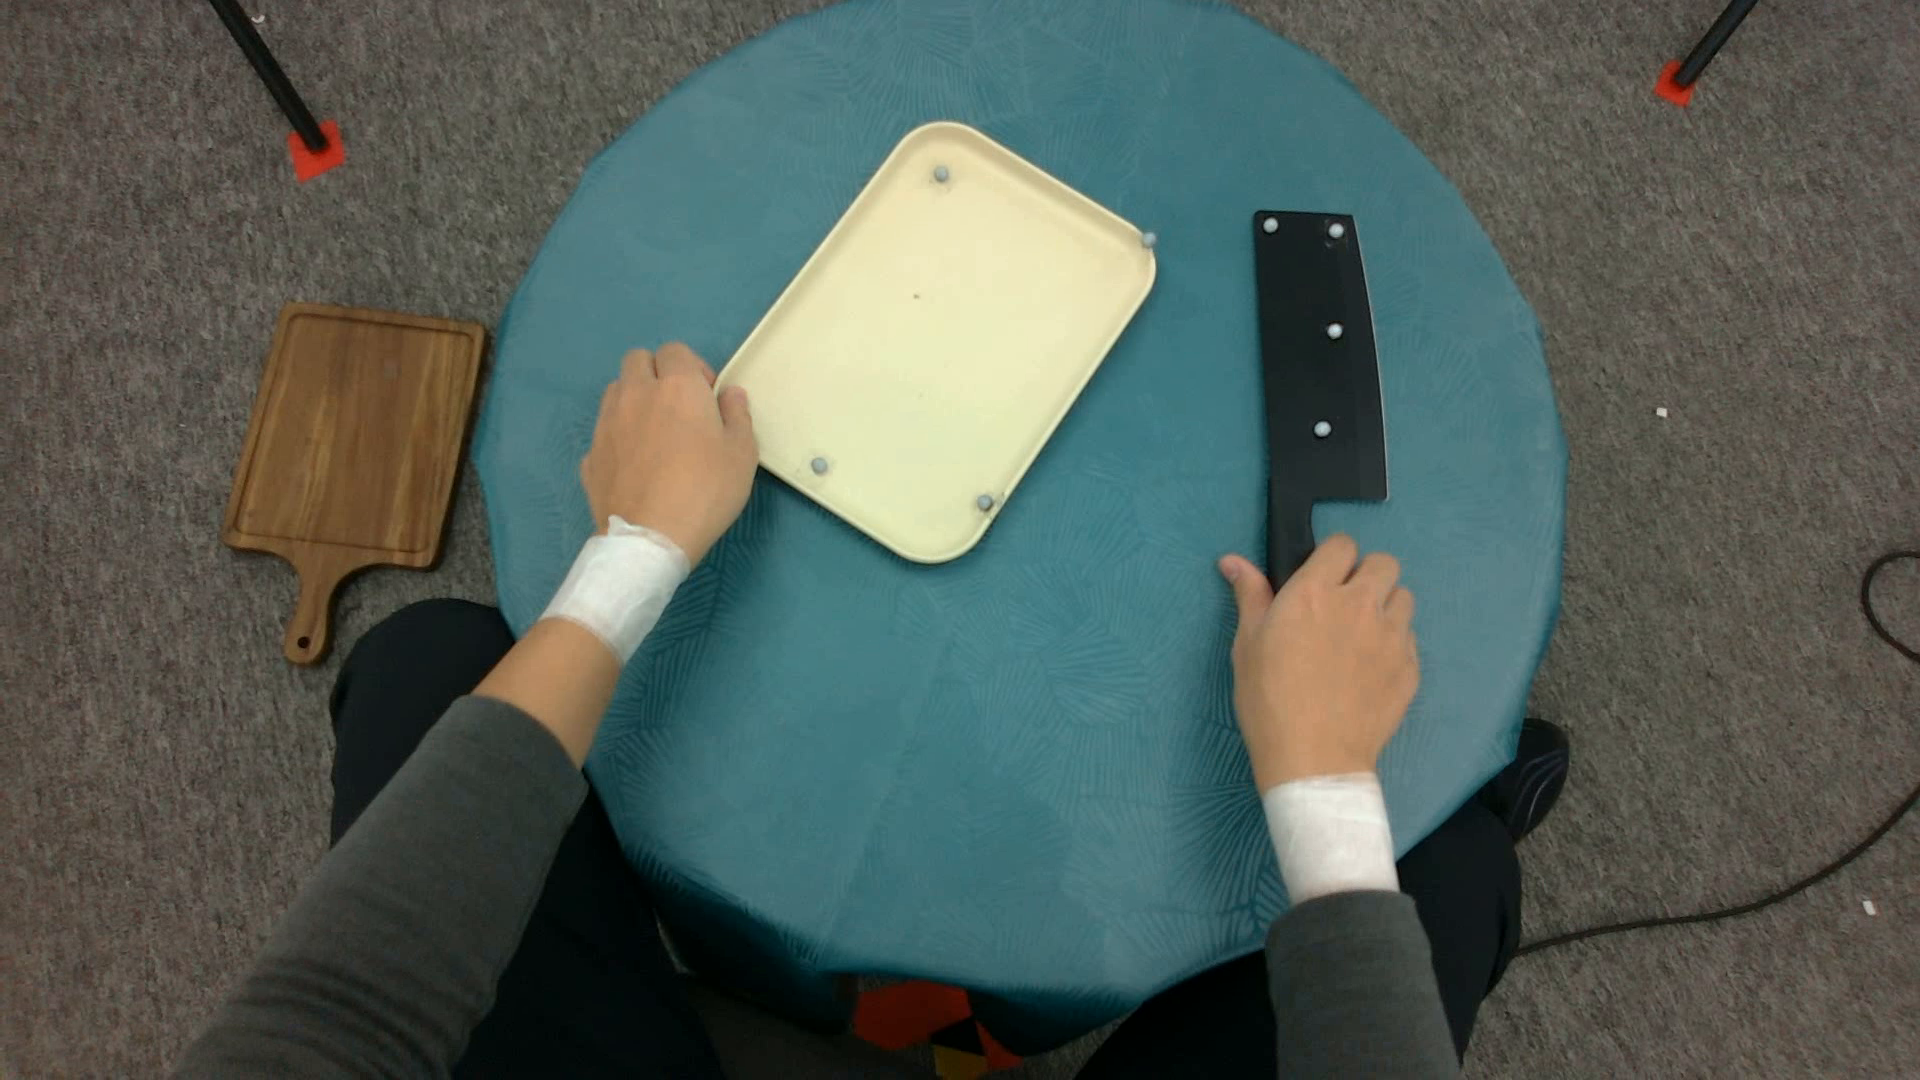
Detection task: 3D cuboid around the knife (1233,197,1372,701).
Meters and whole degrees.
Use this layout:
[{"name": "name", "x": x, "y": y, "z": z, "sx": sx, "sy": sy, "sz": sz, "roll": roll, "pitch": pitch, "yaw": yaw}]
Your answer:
[{"name": "knife", "x": 0.190, "y": -0.061, "z": 0.766, "sx": 0.081, "sy": 0.021, "sz": 0.303, "roll": 5, "pitch": 71, "yaw": -2}]

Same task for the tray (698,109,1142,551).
[{"name": "tray", "x": -0.019, "y": -0.121, "z": 0.769, "sx": 0.171, "sy": 0.017, "sz": 0.240, "roll": 32, "pitch": 74, "yaw": 6}]
